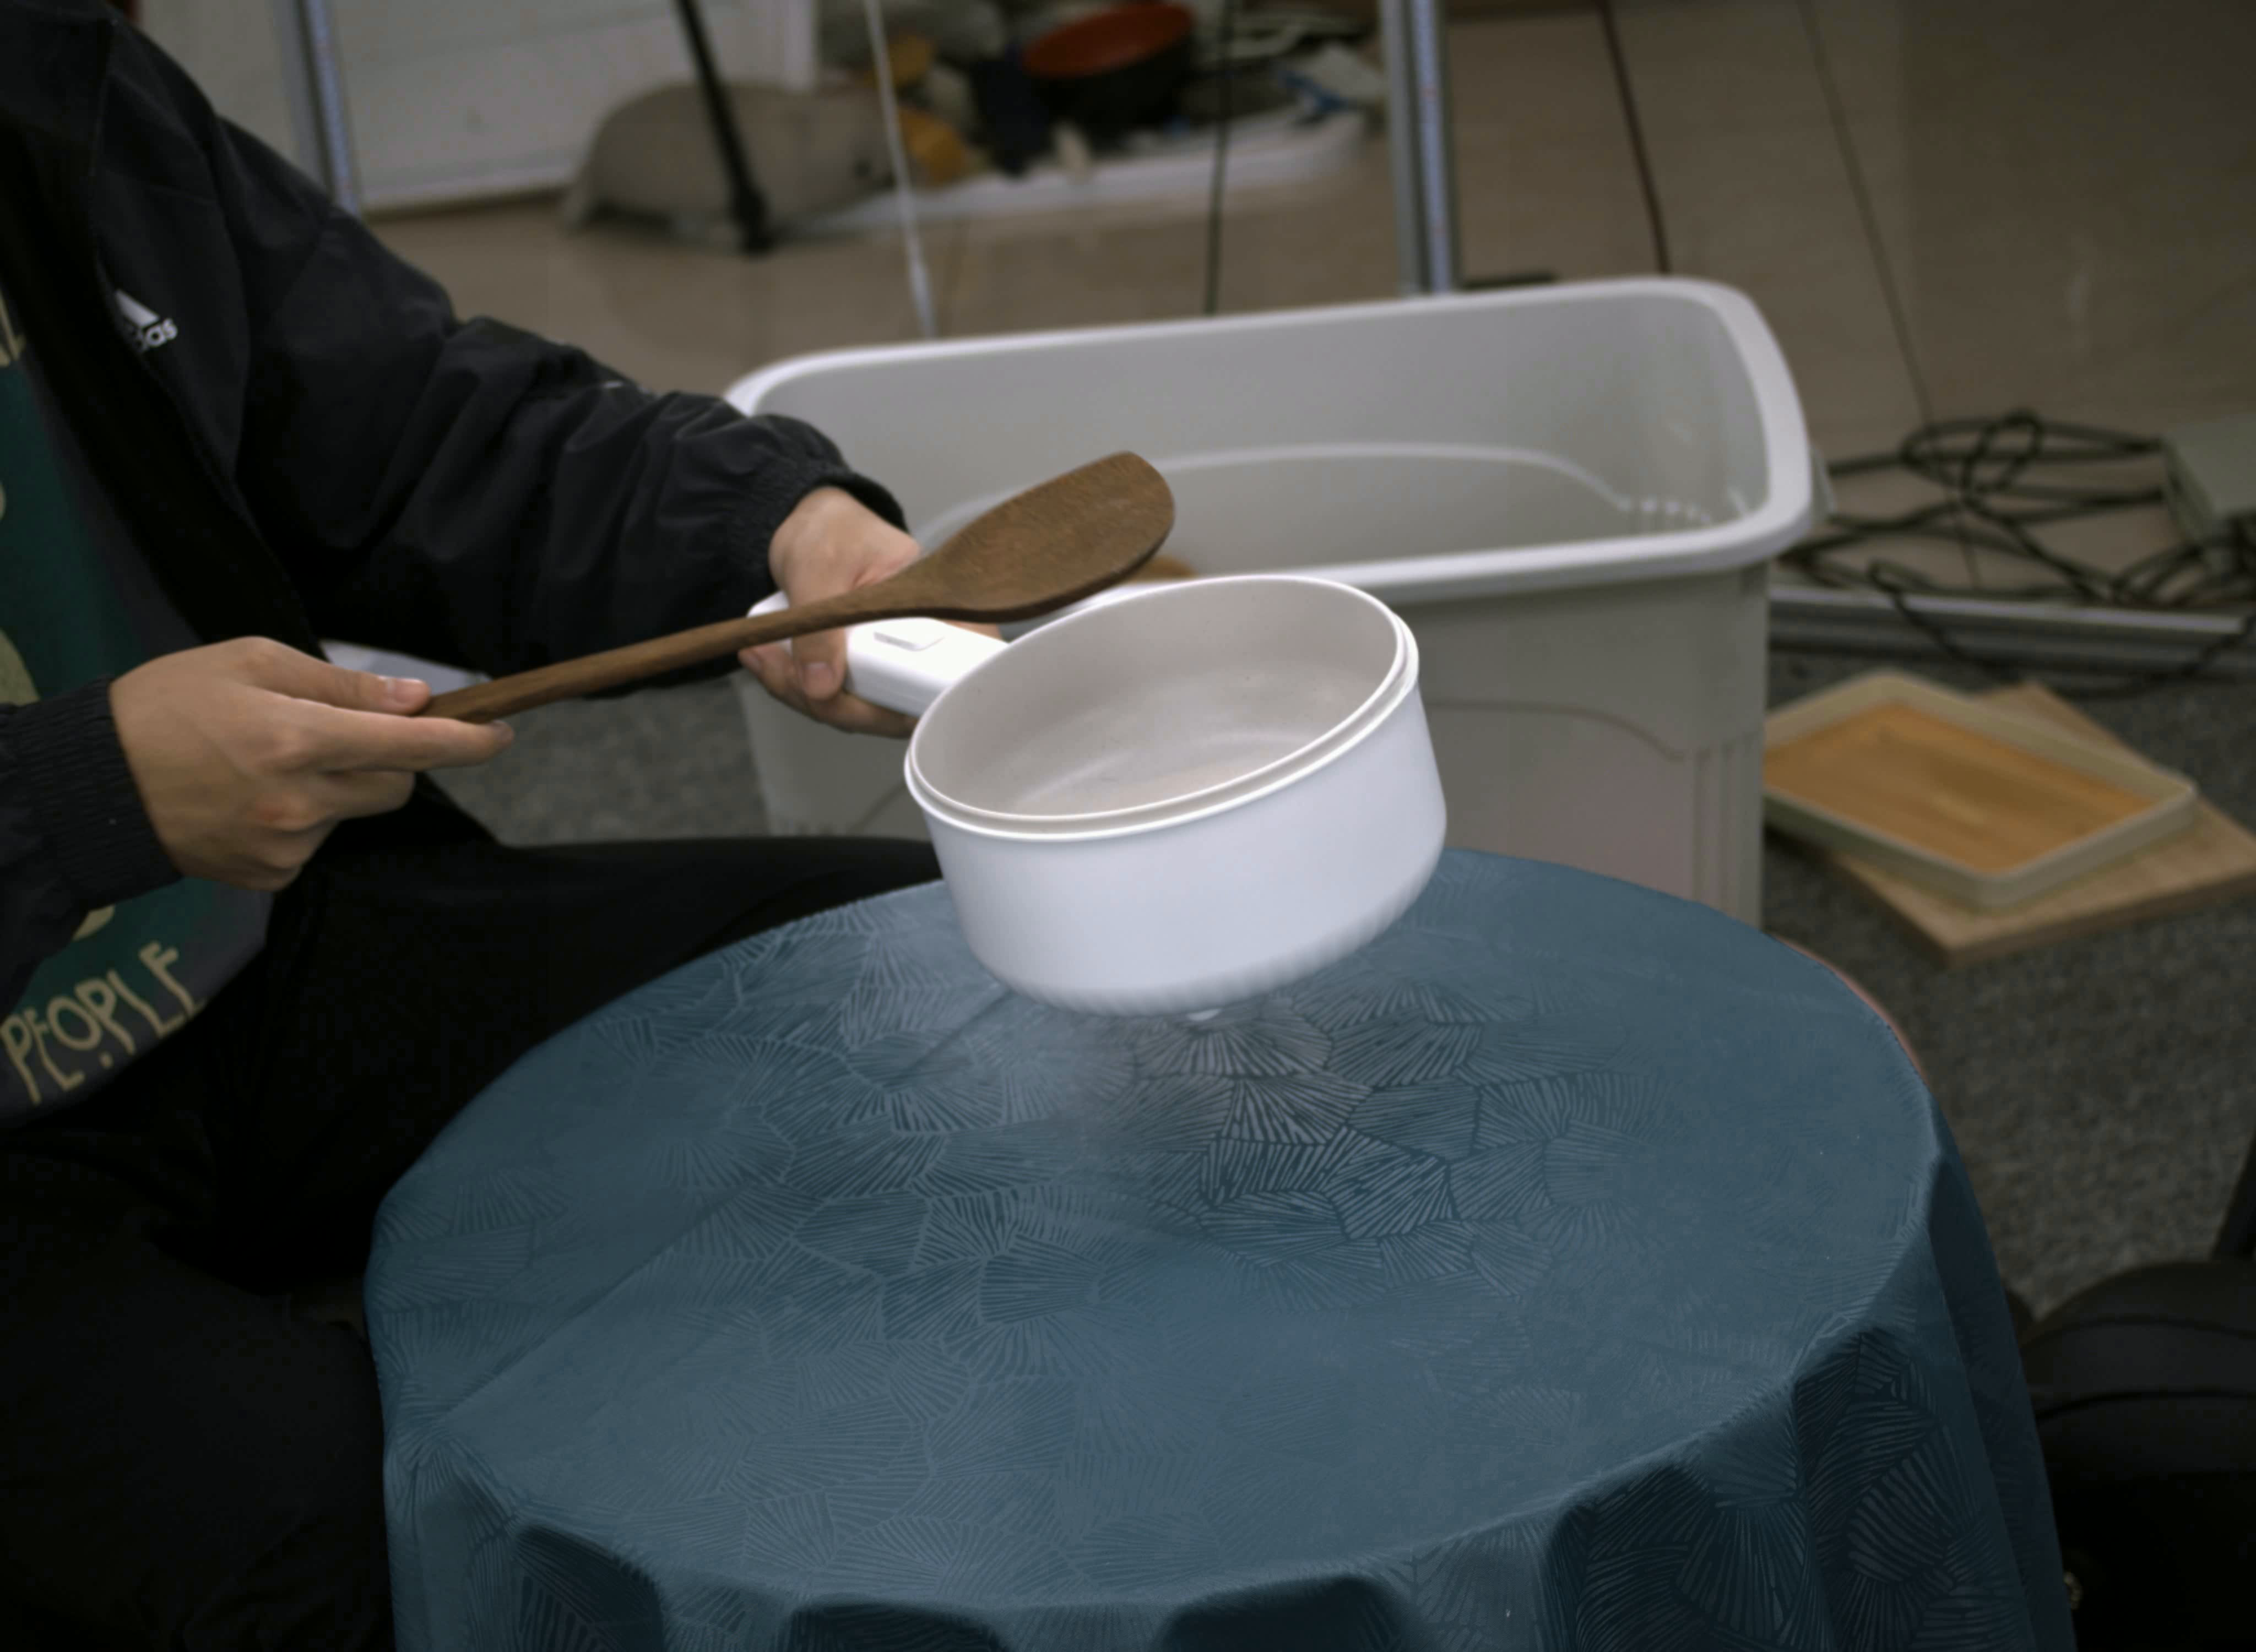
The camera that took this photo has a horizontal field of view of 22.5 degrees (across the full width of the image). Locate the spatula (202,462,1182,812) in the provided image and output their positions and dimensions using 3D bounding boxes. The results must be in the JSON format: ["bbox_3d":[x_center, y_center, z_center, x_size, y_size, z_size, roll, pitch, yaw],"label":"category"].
[{"bbox_3d":[-0.165,-0.065,2.127,0.385,0.016,0.094,-15,31,3],"label":"spatula"}]

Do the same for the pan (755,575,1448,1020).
[{"bbox_3d":[-0.024,-0.021,2.231,0.199,0.103,0.352,-33,29,-29],"label":"pan"}]
